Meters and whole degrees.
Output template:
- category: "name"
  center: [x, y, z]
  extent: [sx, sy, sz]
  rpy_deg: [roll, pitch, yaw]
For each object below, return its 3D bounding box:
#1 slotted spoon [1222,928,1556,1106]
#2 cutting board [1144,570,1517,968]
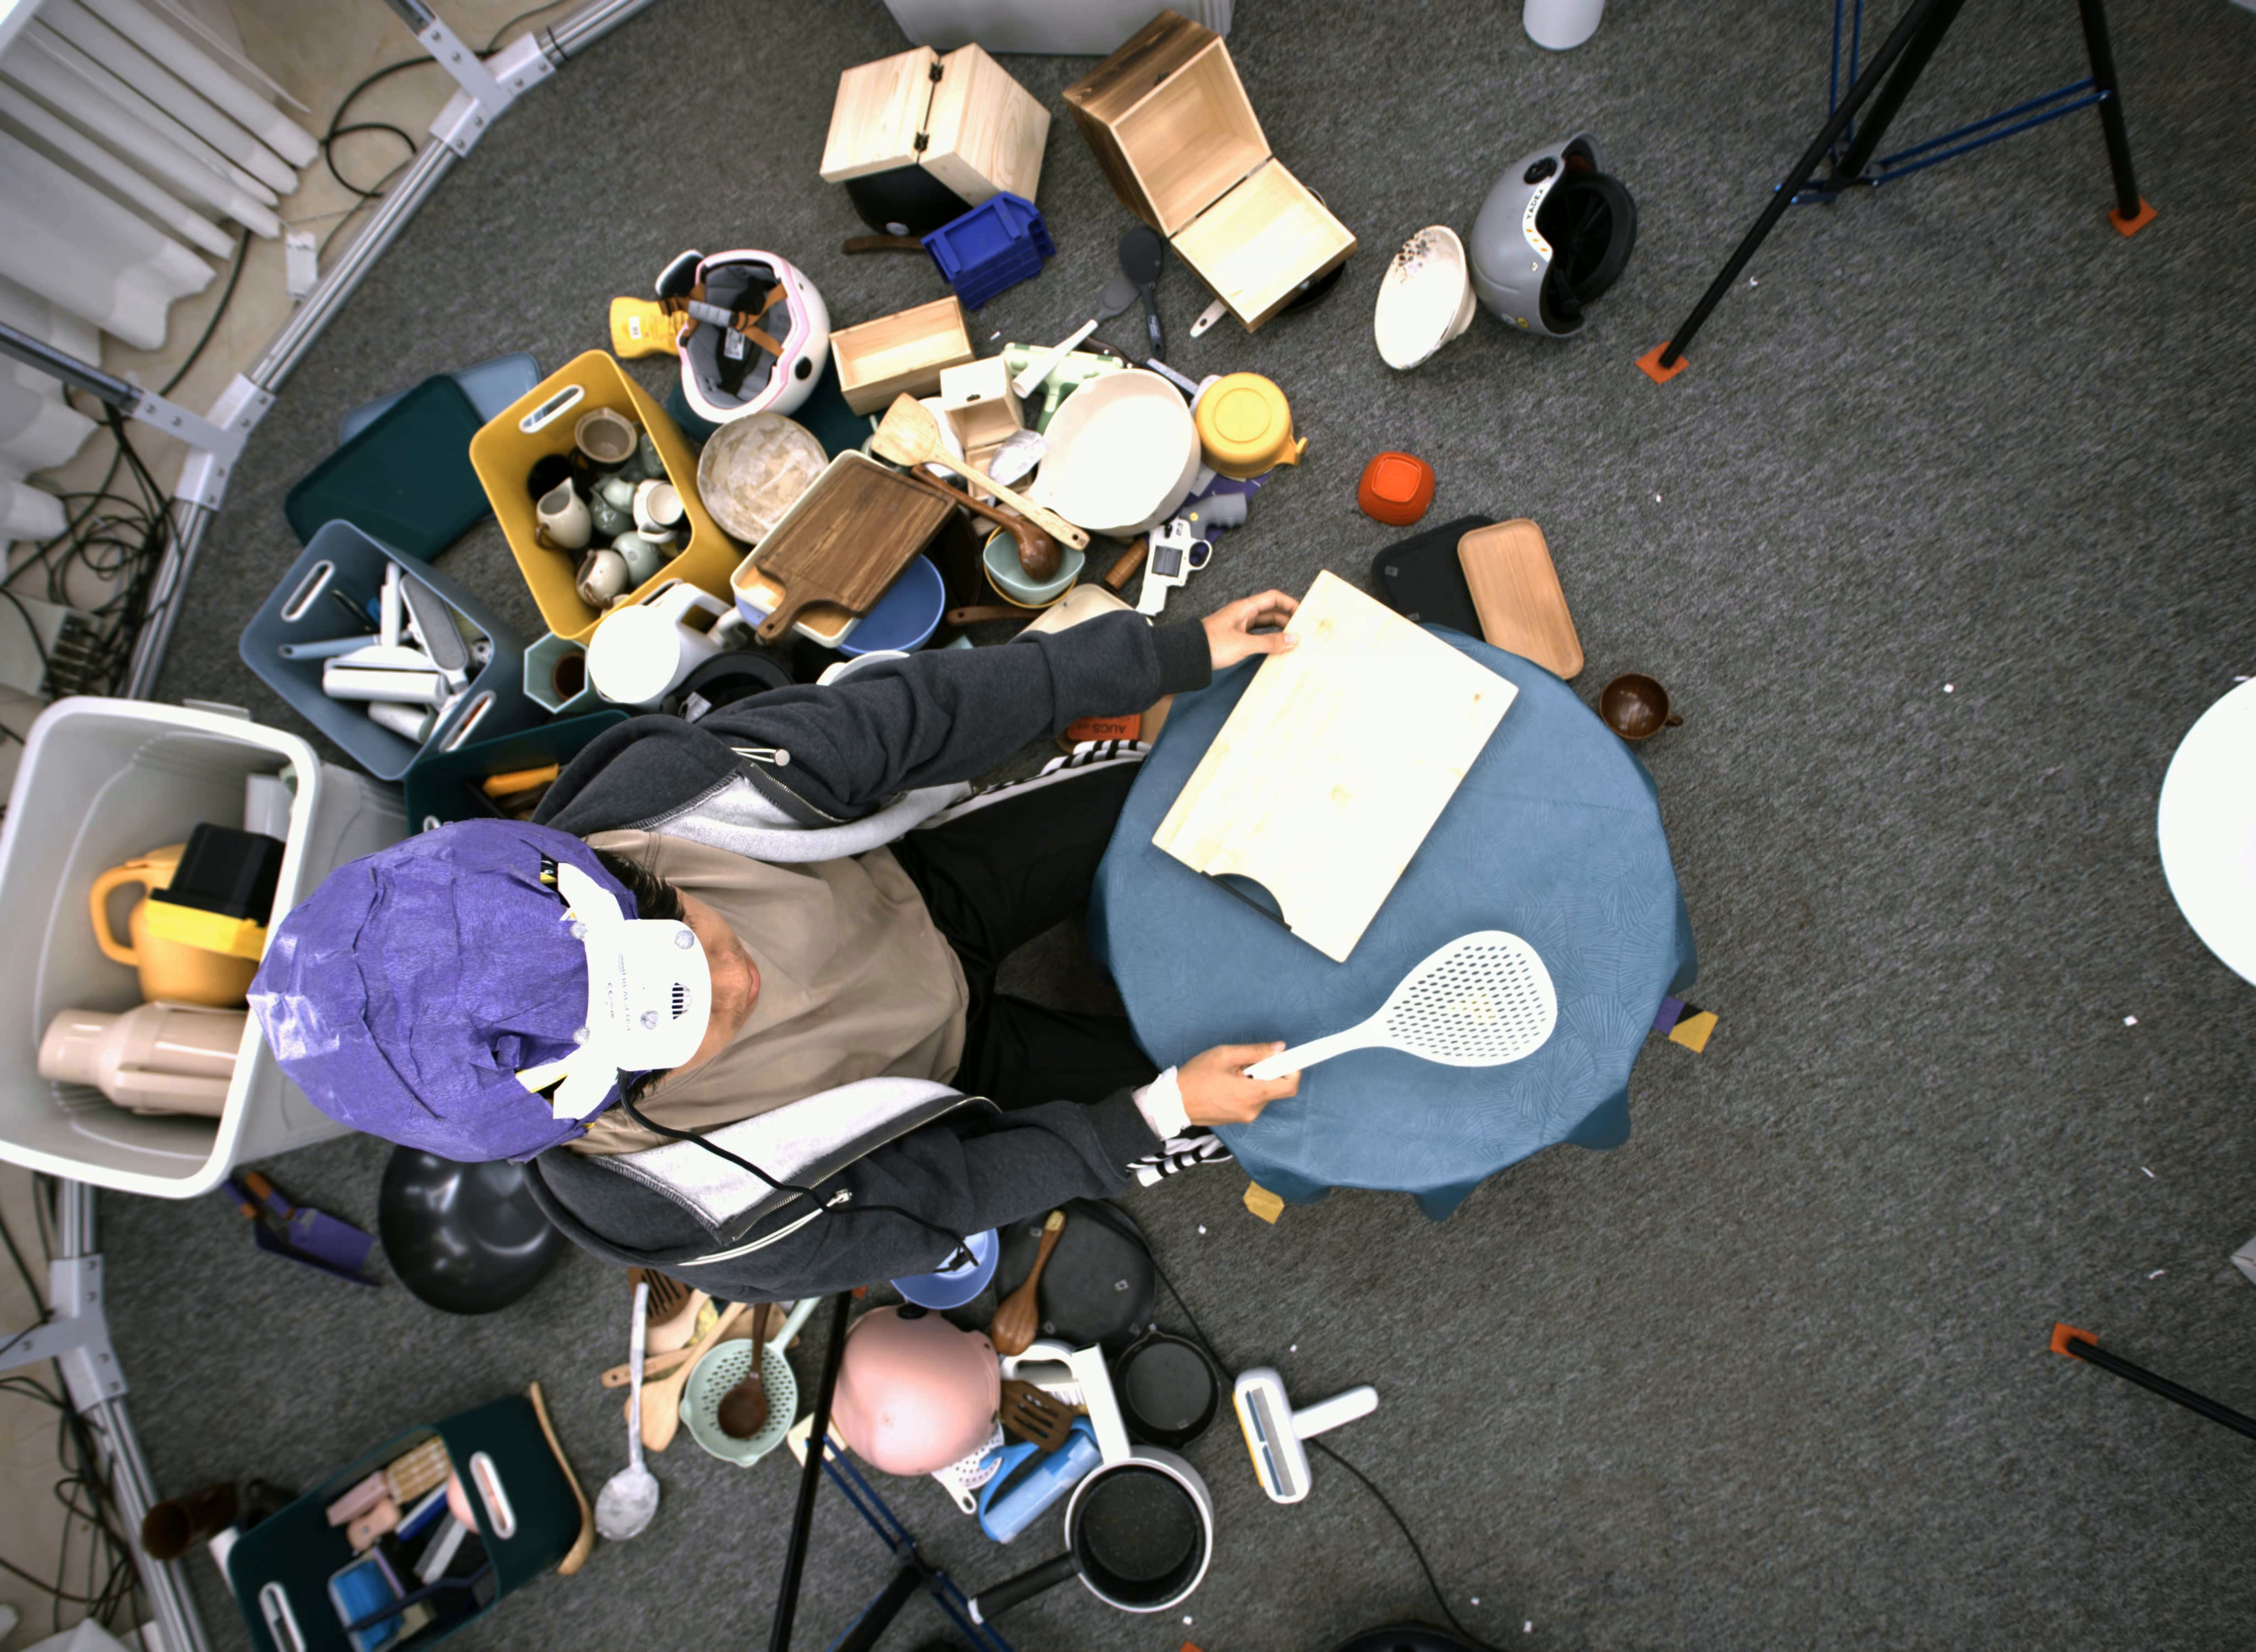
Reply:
- category: "slotted spoon"
  center: [0.255, 0.209, 1.392]
  extent: [0.349, 0.051, 0.134]
  rpy_deg: [-19, 67, 4]
- category: "cutting board"
  center: [0.211, -0.060, 1.446]
  extent: [0.250, 0.023, 0.350]
  rpy_deg: [32, 97, 5]
